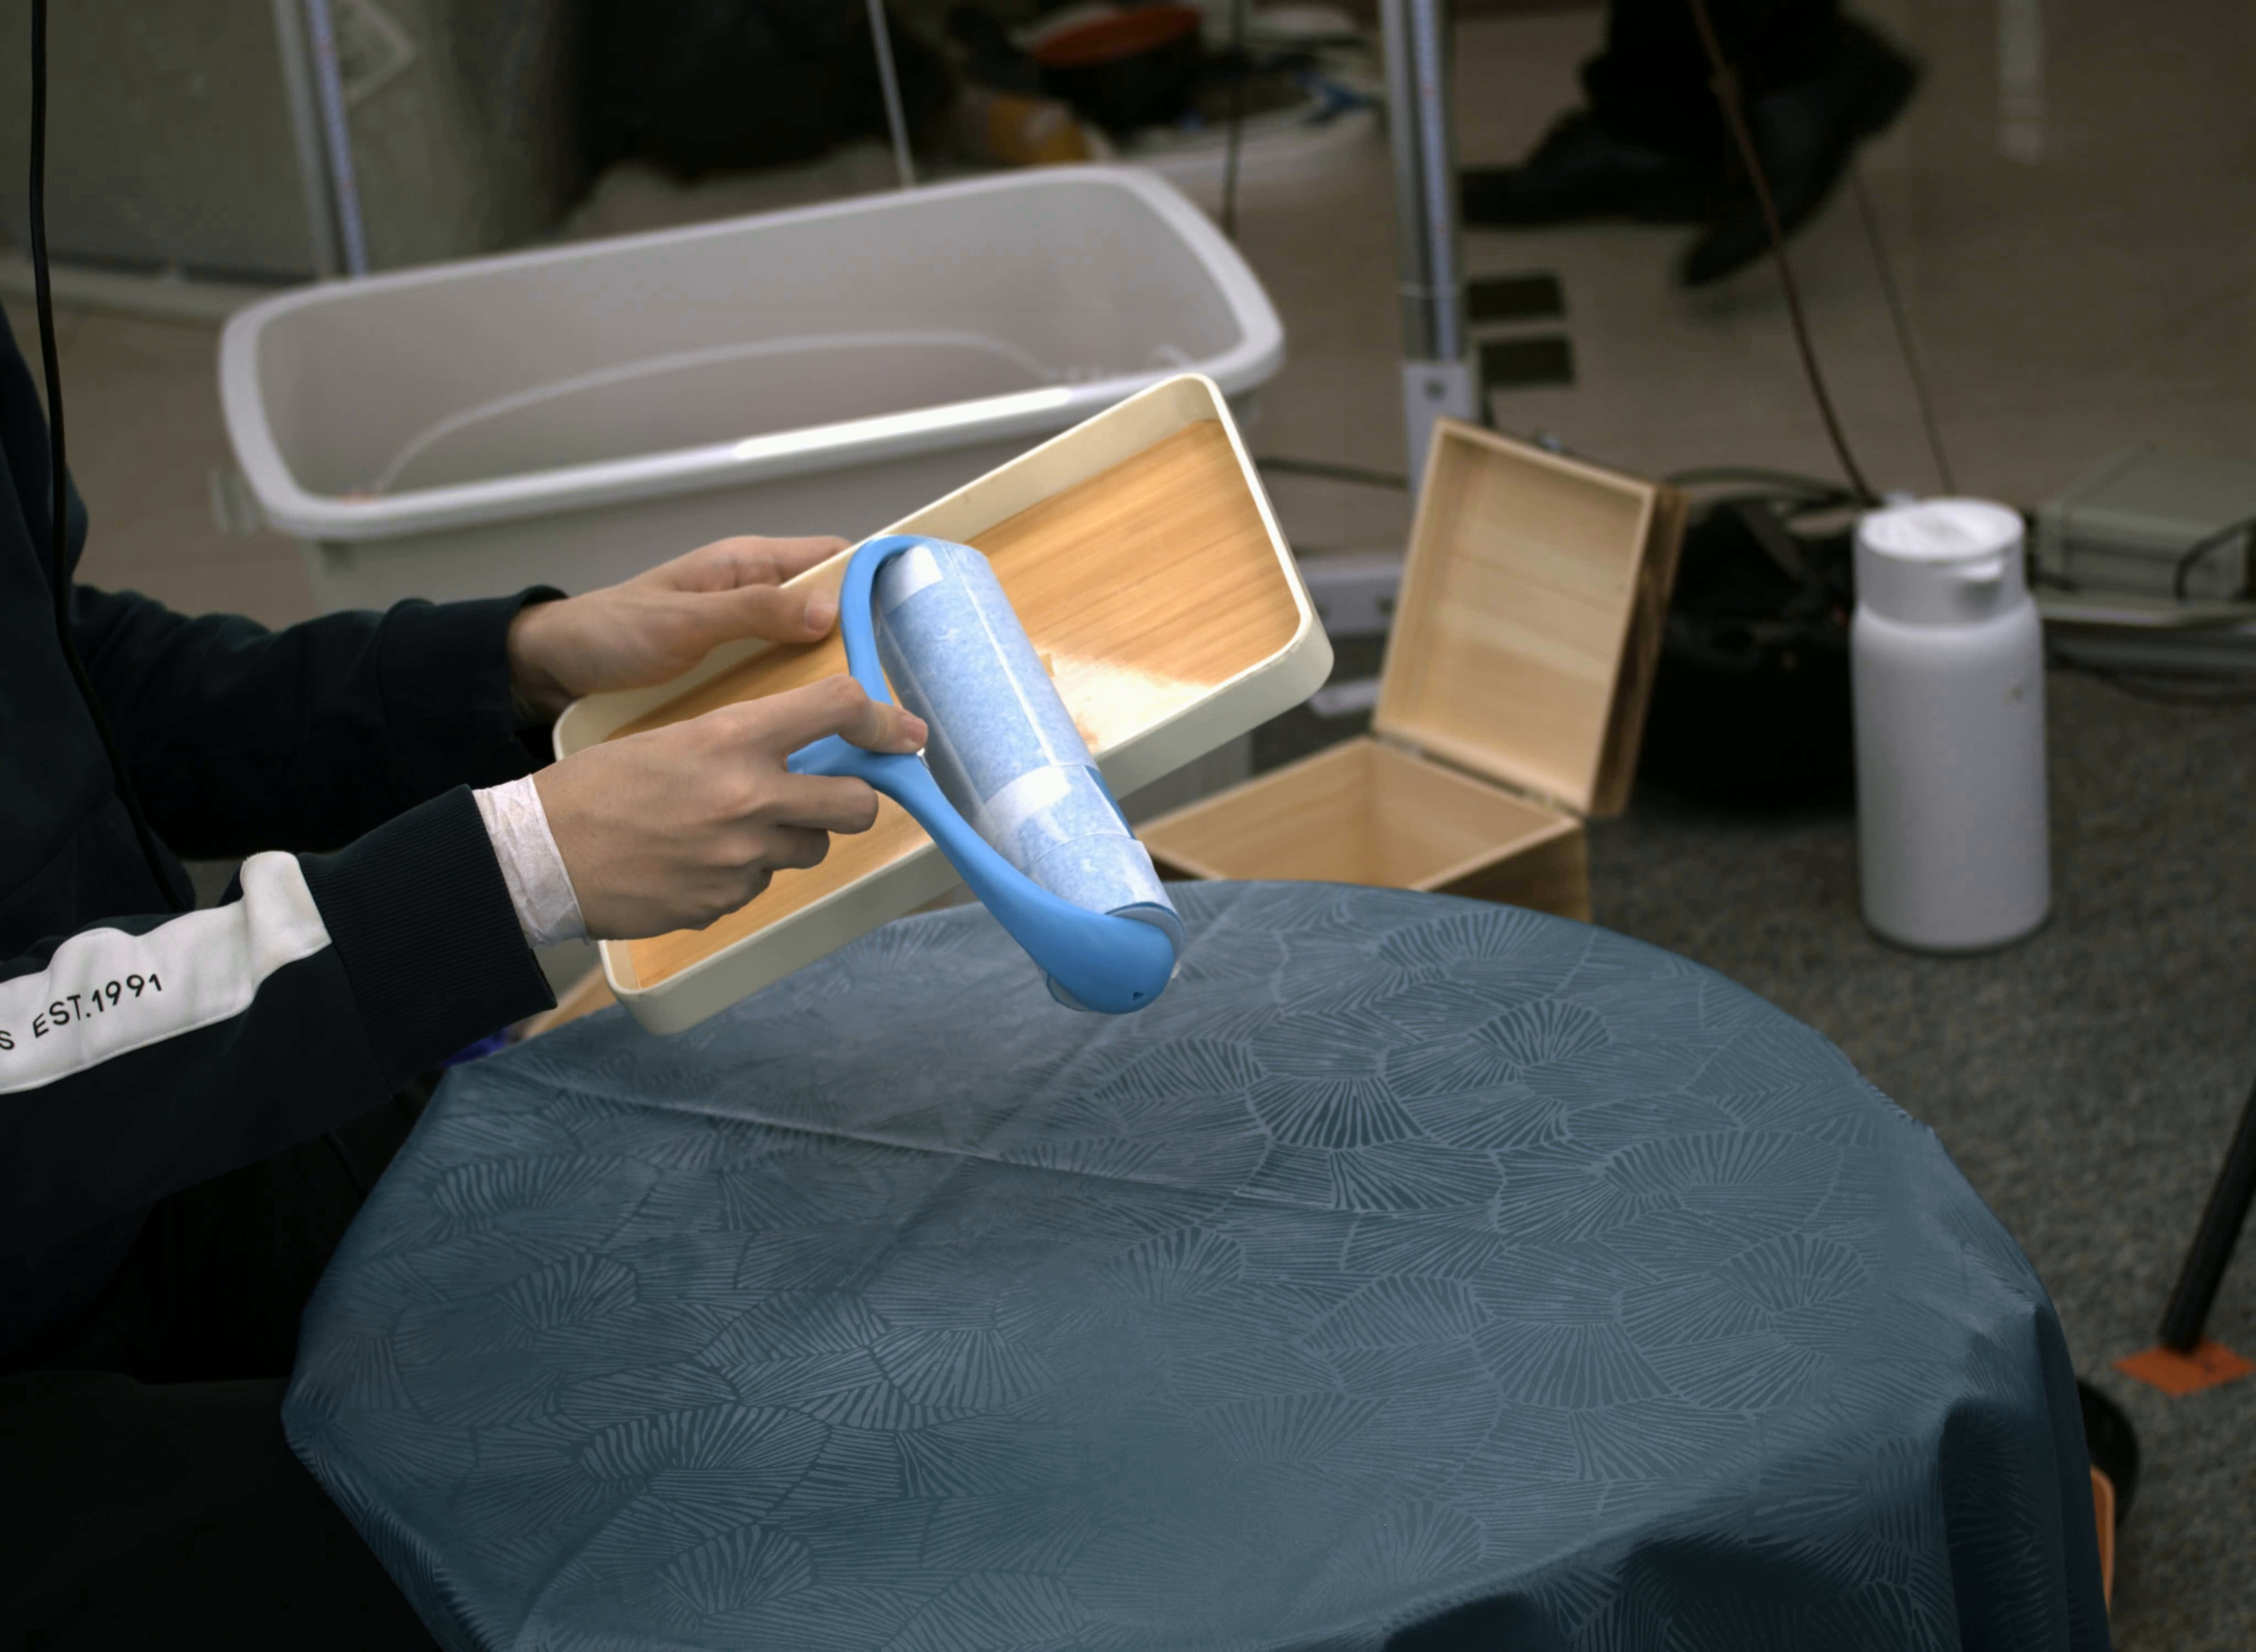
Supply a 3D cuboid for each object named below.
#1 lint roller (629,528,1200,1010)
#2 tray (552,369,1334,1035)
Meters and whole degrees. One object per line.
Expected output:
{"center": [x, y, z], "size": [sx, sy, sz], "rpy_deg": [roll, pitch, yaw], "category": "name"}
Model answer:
{"center": [-0.090, -0.008, 2.022], "size": [0.179, 0.069, 0.225], "rpy_deg": [-16, 54, -22], "category": "lint roller"}
{"center": [-0.075, -0.049, 2.159], "size": [0.301, 0.028, 0.188], "rpy_deg": [-28, 41, 8], "category": "tray"}
